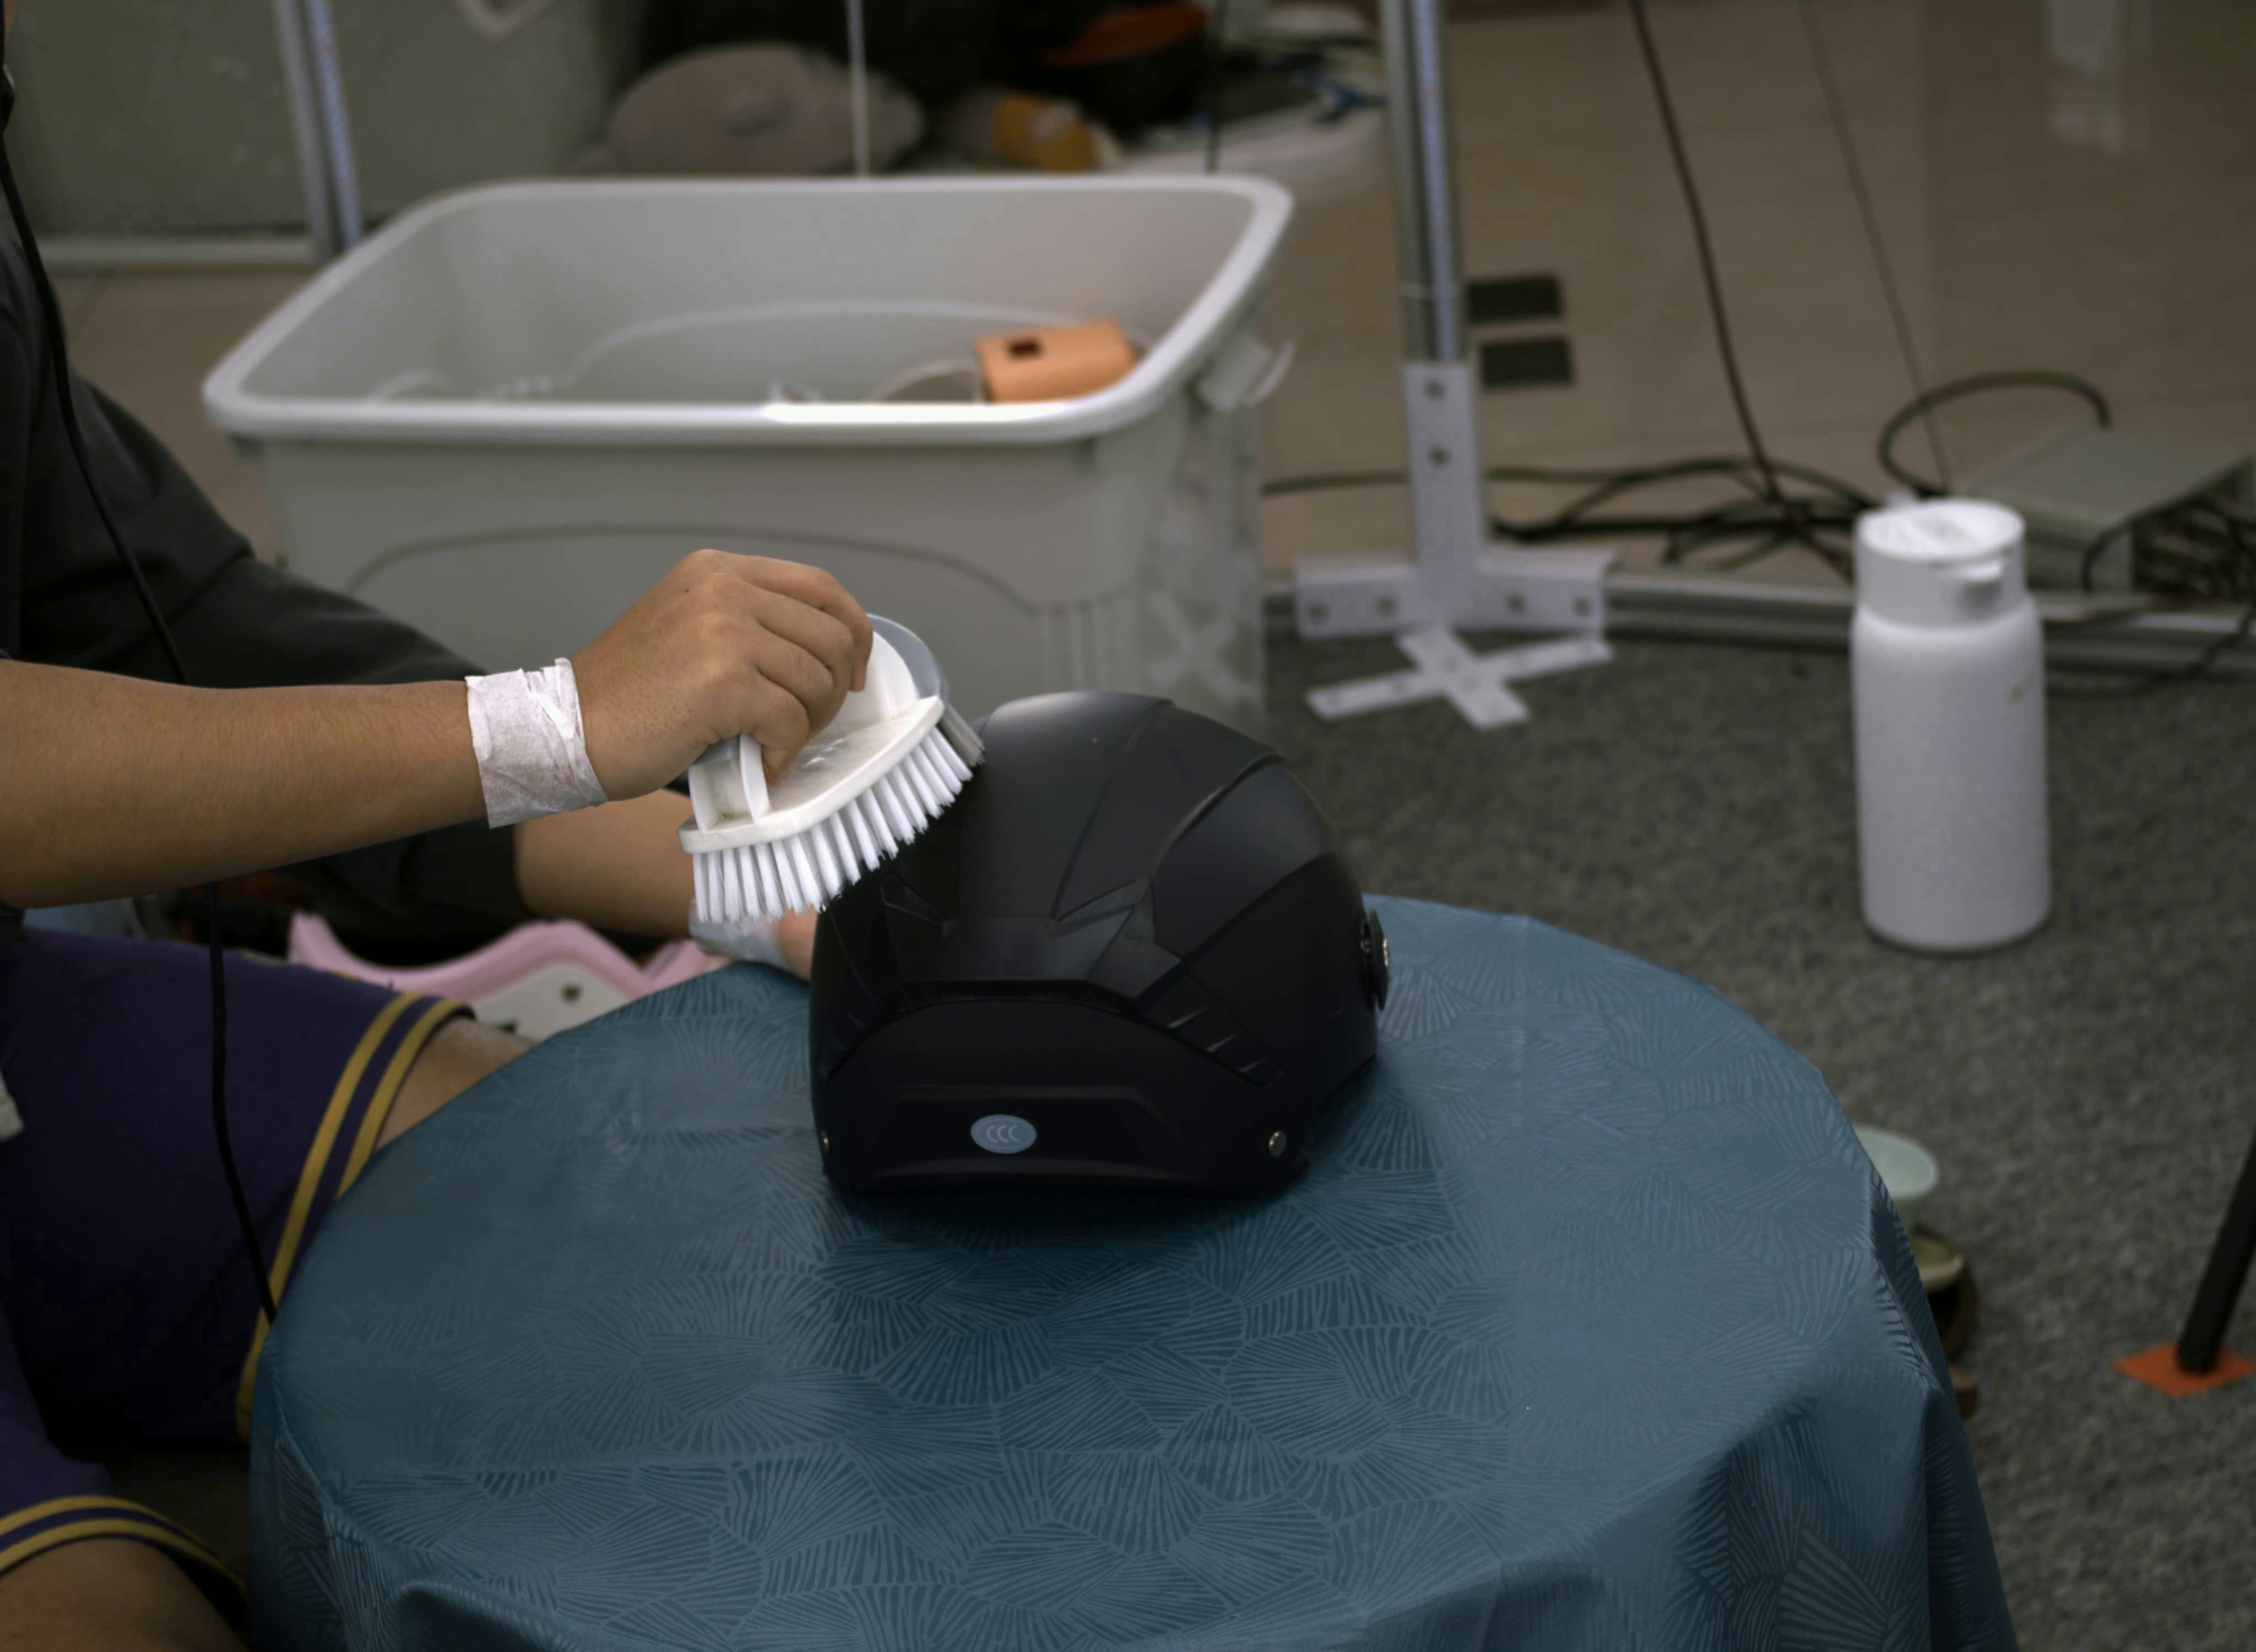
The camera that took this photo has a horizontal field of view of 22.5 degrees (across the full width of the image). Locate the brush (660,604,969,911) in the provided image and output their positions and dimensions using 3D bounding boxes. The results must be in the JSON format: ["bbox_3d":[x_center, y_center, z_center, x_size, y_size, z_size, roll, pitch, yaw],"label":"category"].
[{"bbox_3d":[-0.111,-0.036,2.062,0.061,0.095,0.174,-4,17,30],"label":"brush"}]

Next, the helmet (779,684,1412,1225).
[{"bbox_3d":[-0.016,0.034,2.187,0.246,0.175,0.272,1,31,15],"label":"helmet"}]
